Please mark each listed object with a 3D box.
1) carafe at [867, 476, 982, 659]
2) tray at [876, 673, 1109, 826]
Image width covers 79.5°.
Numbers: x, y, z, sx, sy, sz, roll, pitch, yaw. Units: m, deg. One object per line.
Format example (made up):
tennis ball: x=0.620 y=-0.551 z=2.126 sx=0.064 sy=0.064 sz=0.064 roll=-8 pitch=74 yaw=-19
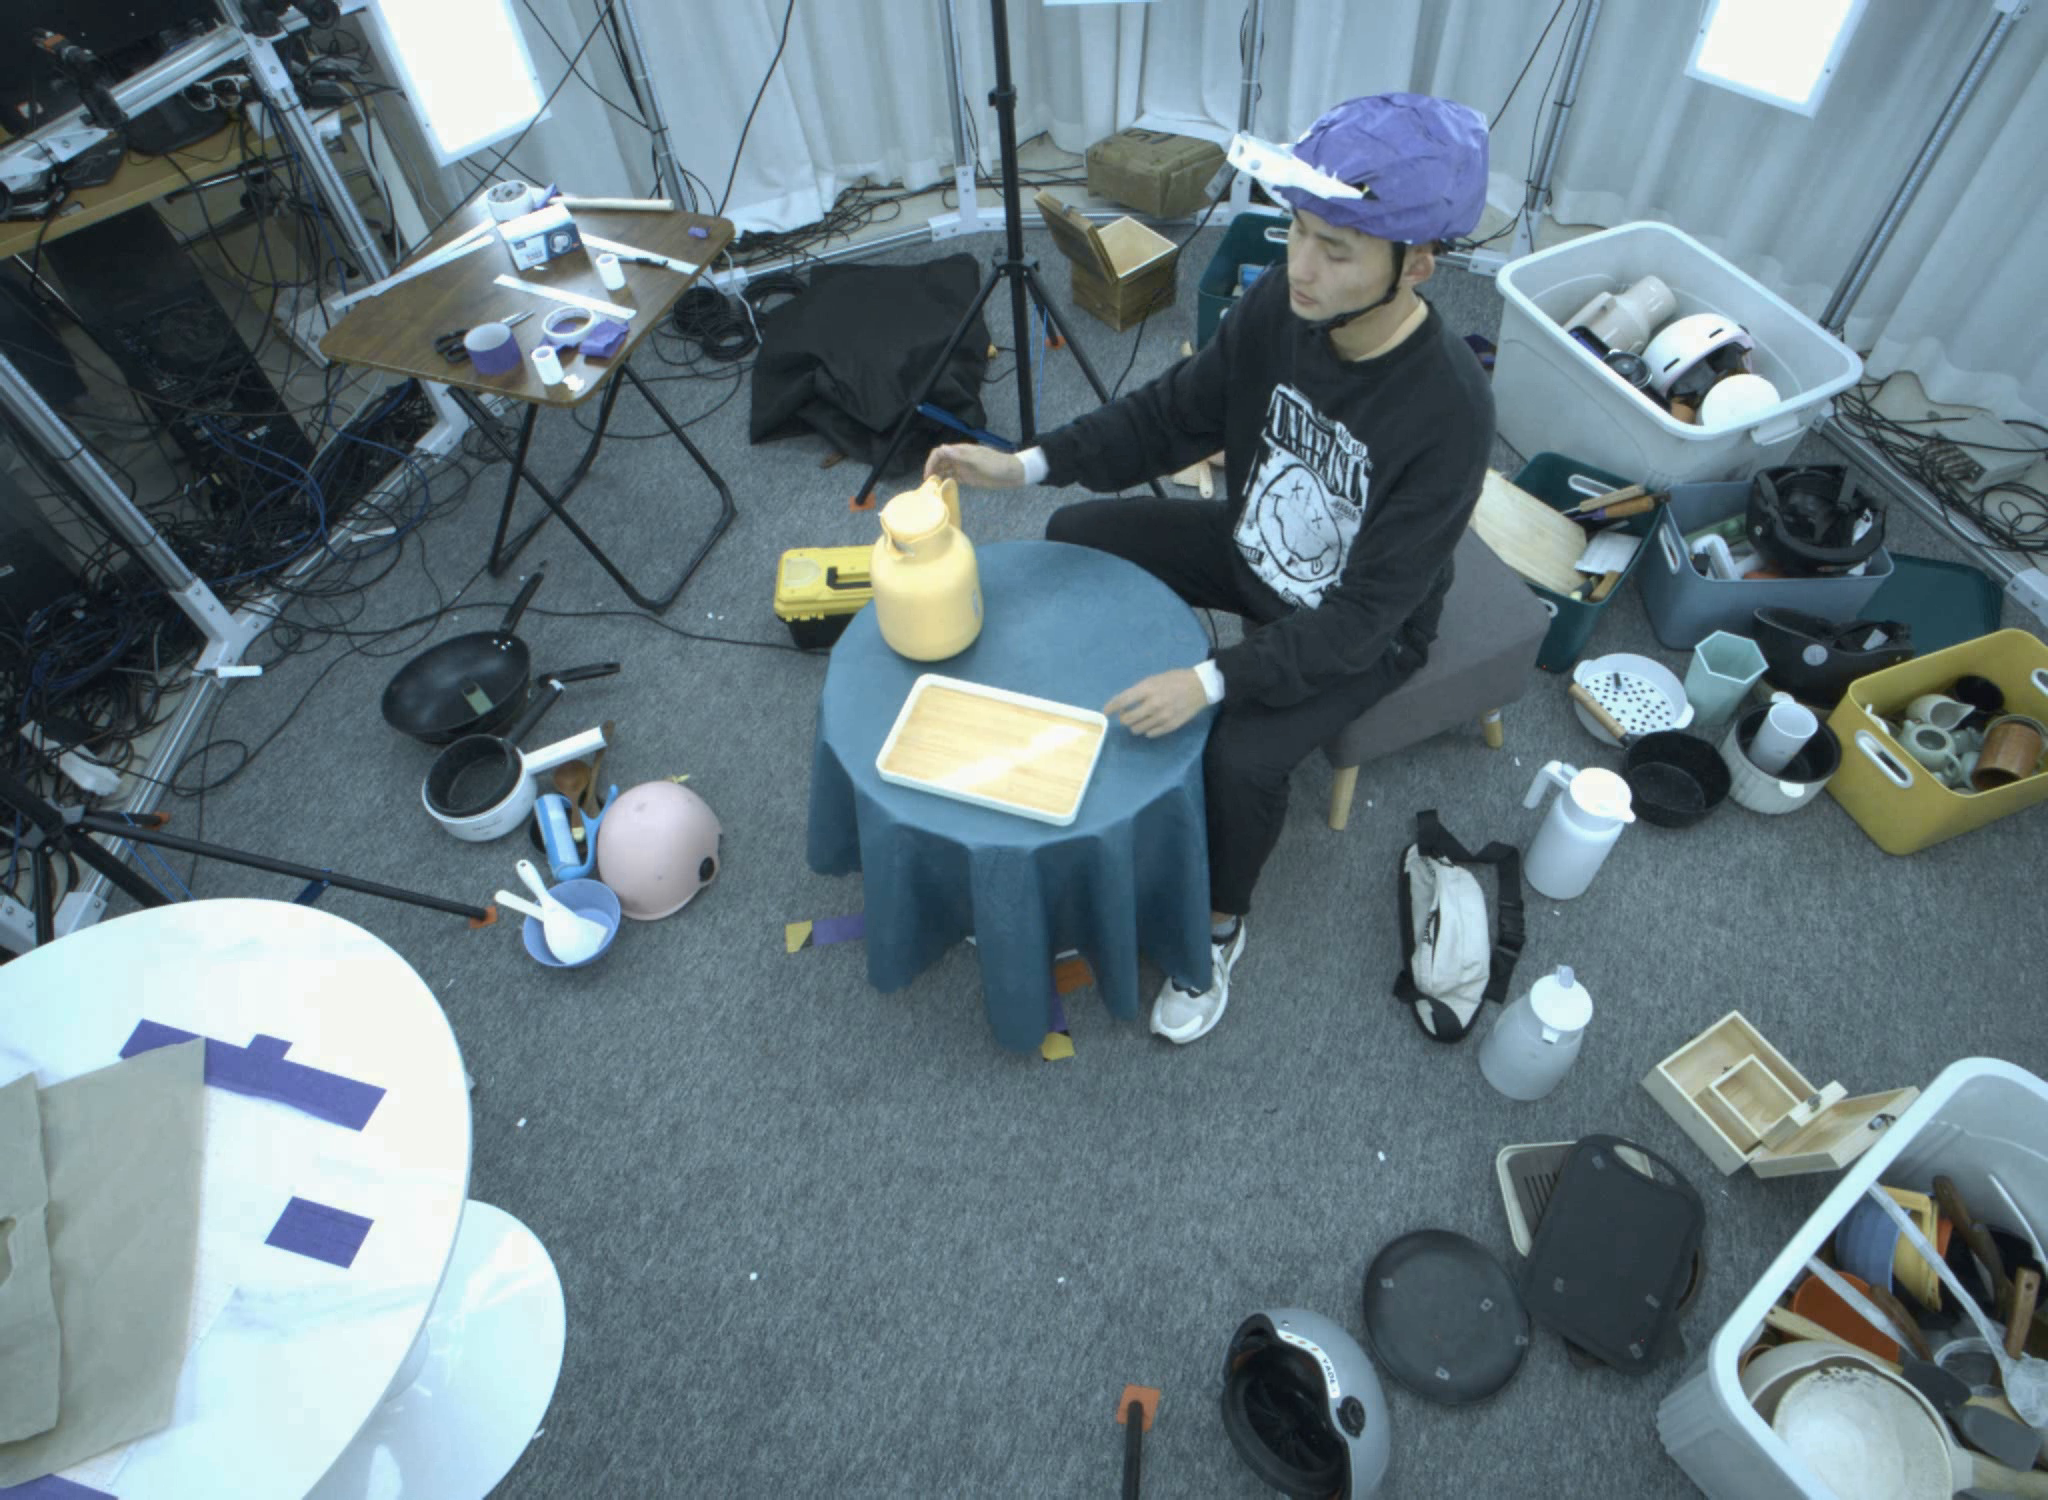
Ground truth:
carafe: x=-0.143 y=-0.280 z=1.826 sx=0.162 sy=0.263 sz=0.202 roll=18 pitch=59 yaw=13
tray: x=-0.044 y=-0.004 z=1.771 sx=0.297 sy=0.028 sz=0.191 roll=14 pitch=57 yaw=12
